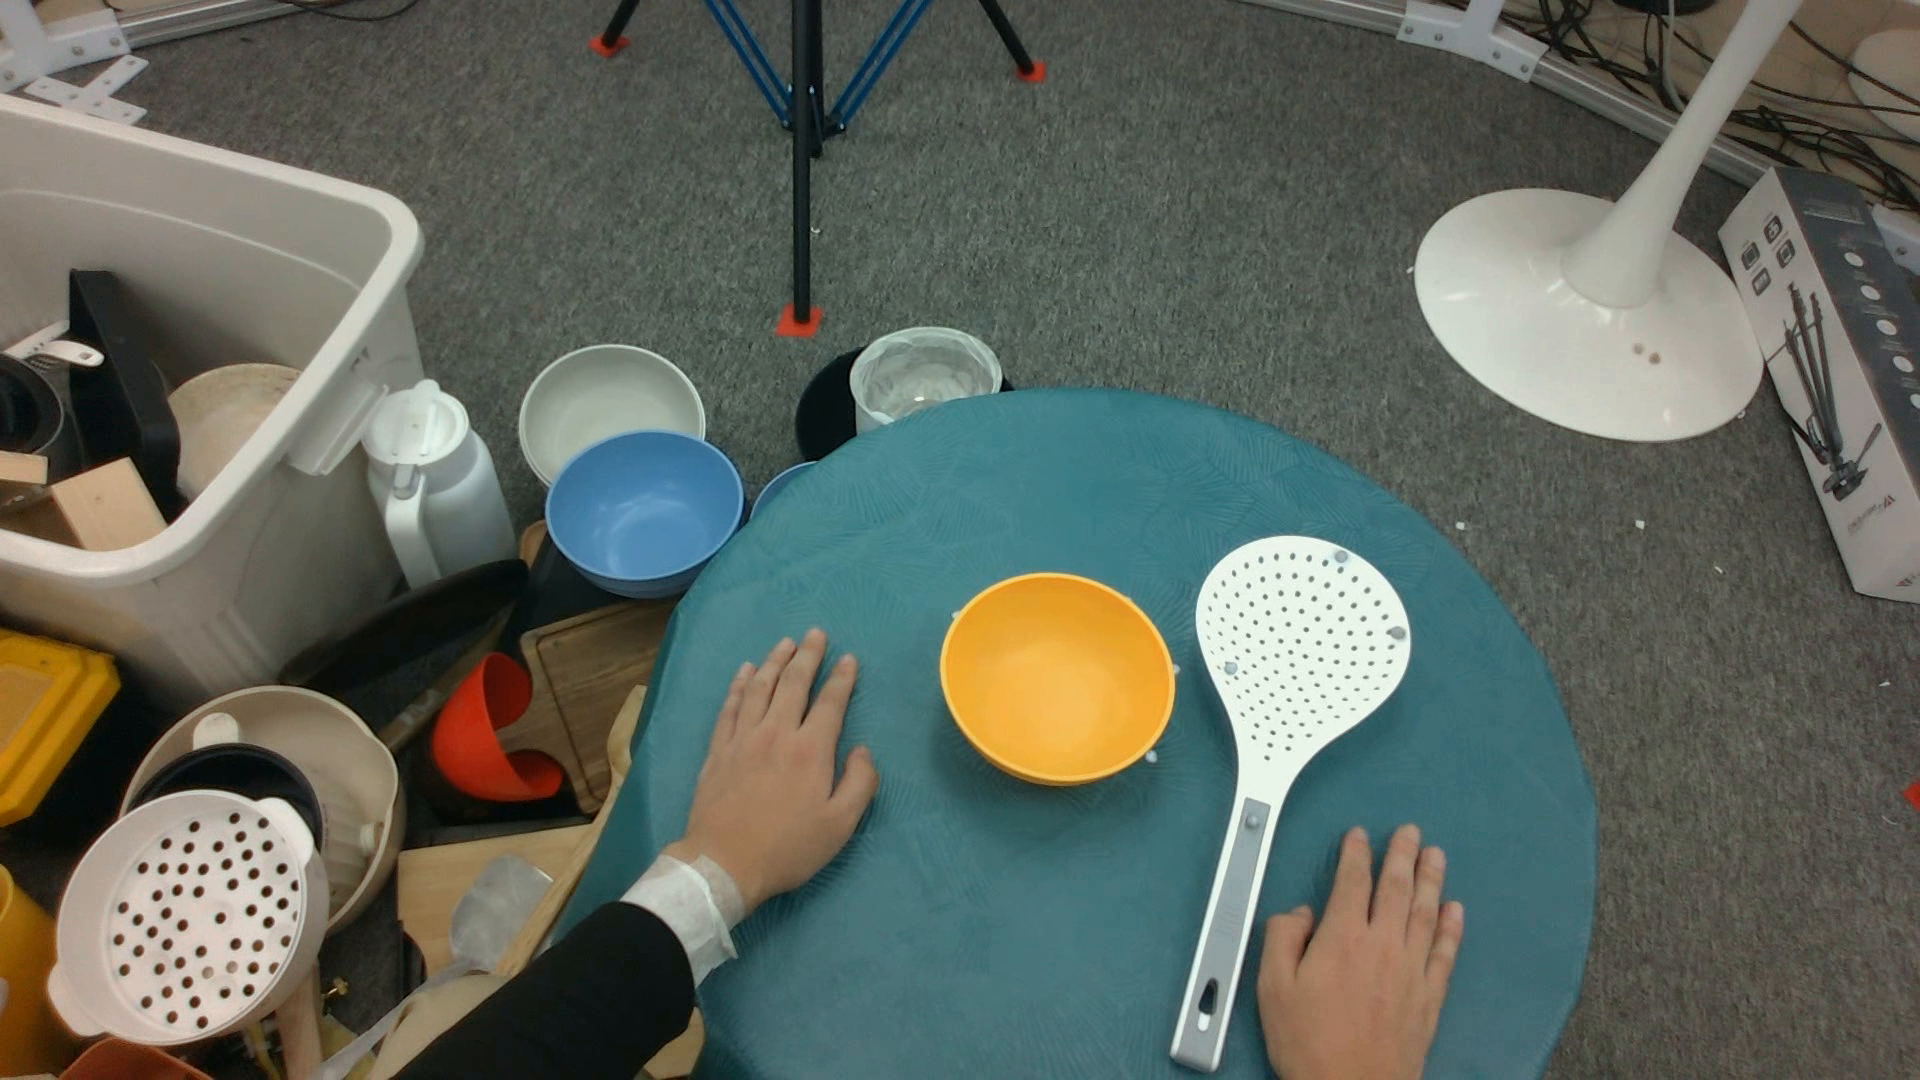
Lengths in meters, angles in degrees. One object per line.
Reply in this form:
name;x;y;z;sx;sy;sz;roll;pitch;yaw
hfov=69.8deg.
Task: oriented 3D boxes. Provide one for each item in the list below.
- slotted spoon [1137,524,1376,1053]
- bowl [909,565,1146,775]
slotted spoon;0.168;0.139;0.847;0.136;0.045;0.351;17;56;8
bowl;0.039;0.090;0.859;0.145;0.060;0.146;3;54;-4
